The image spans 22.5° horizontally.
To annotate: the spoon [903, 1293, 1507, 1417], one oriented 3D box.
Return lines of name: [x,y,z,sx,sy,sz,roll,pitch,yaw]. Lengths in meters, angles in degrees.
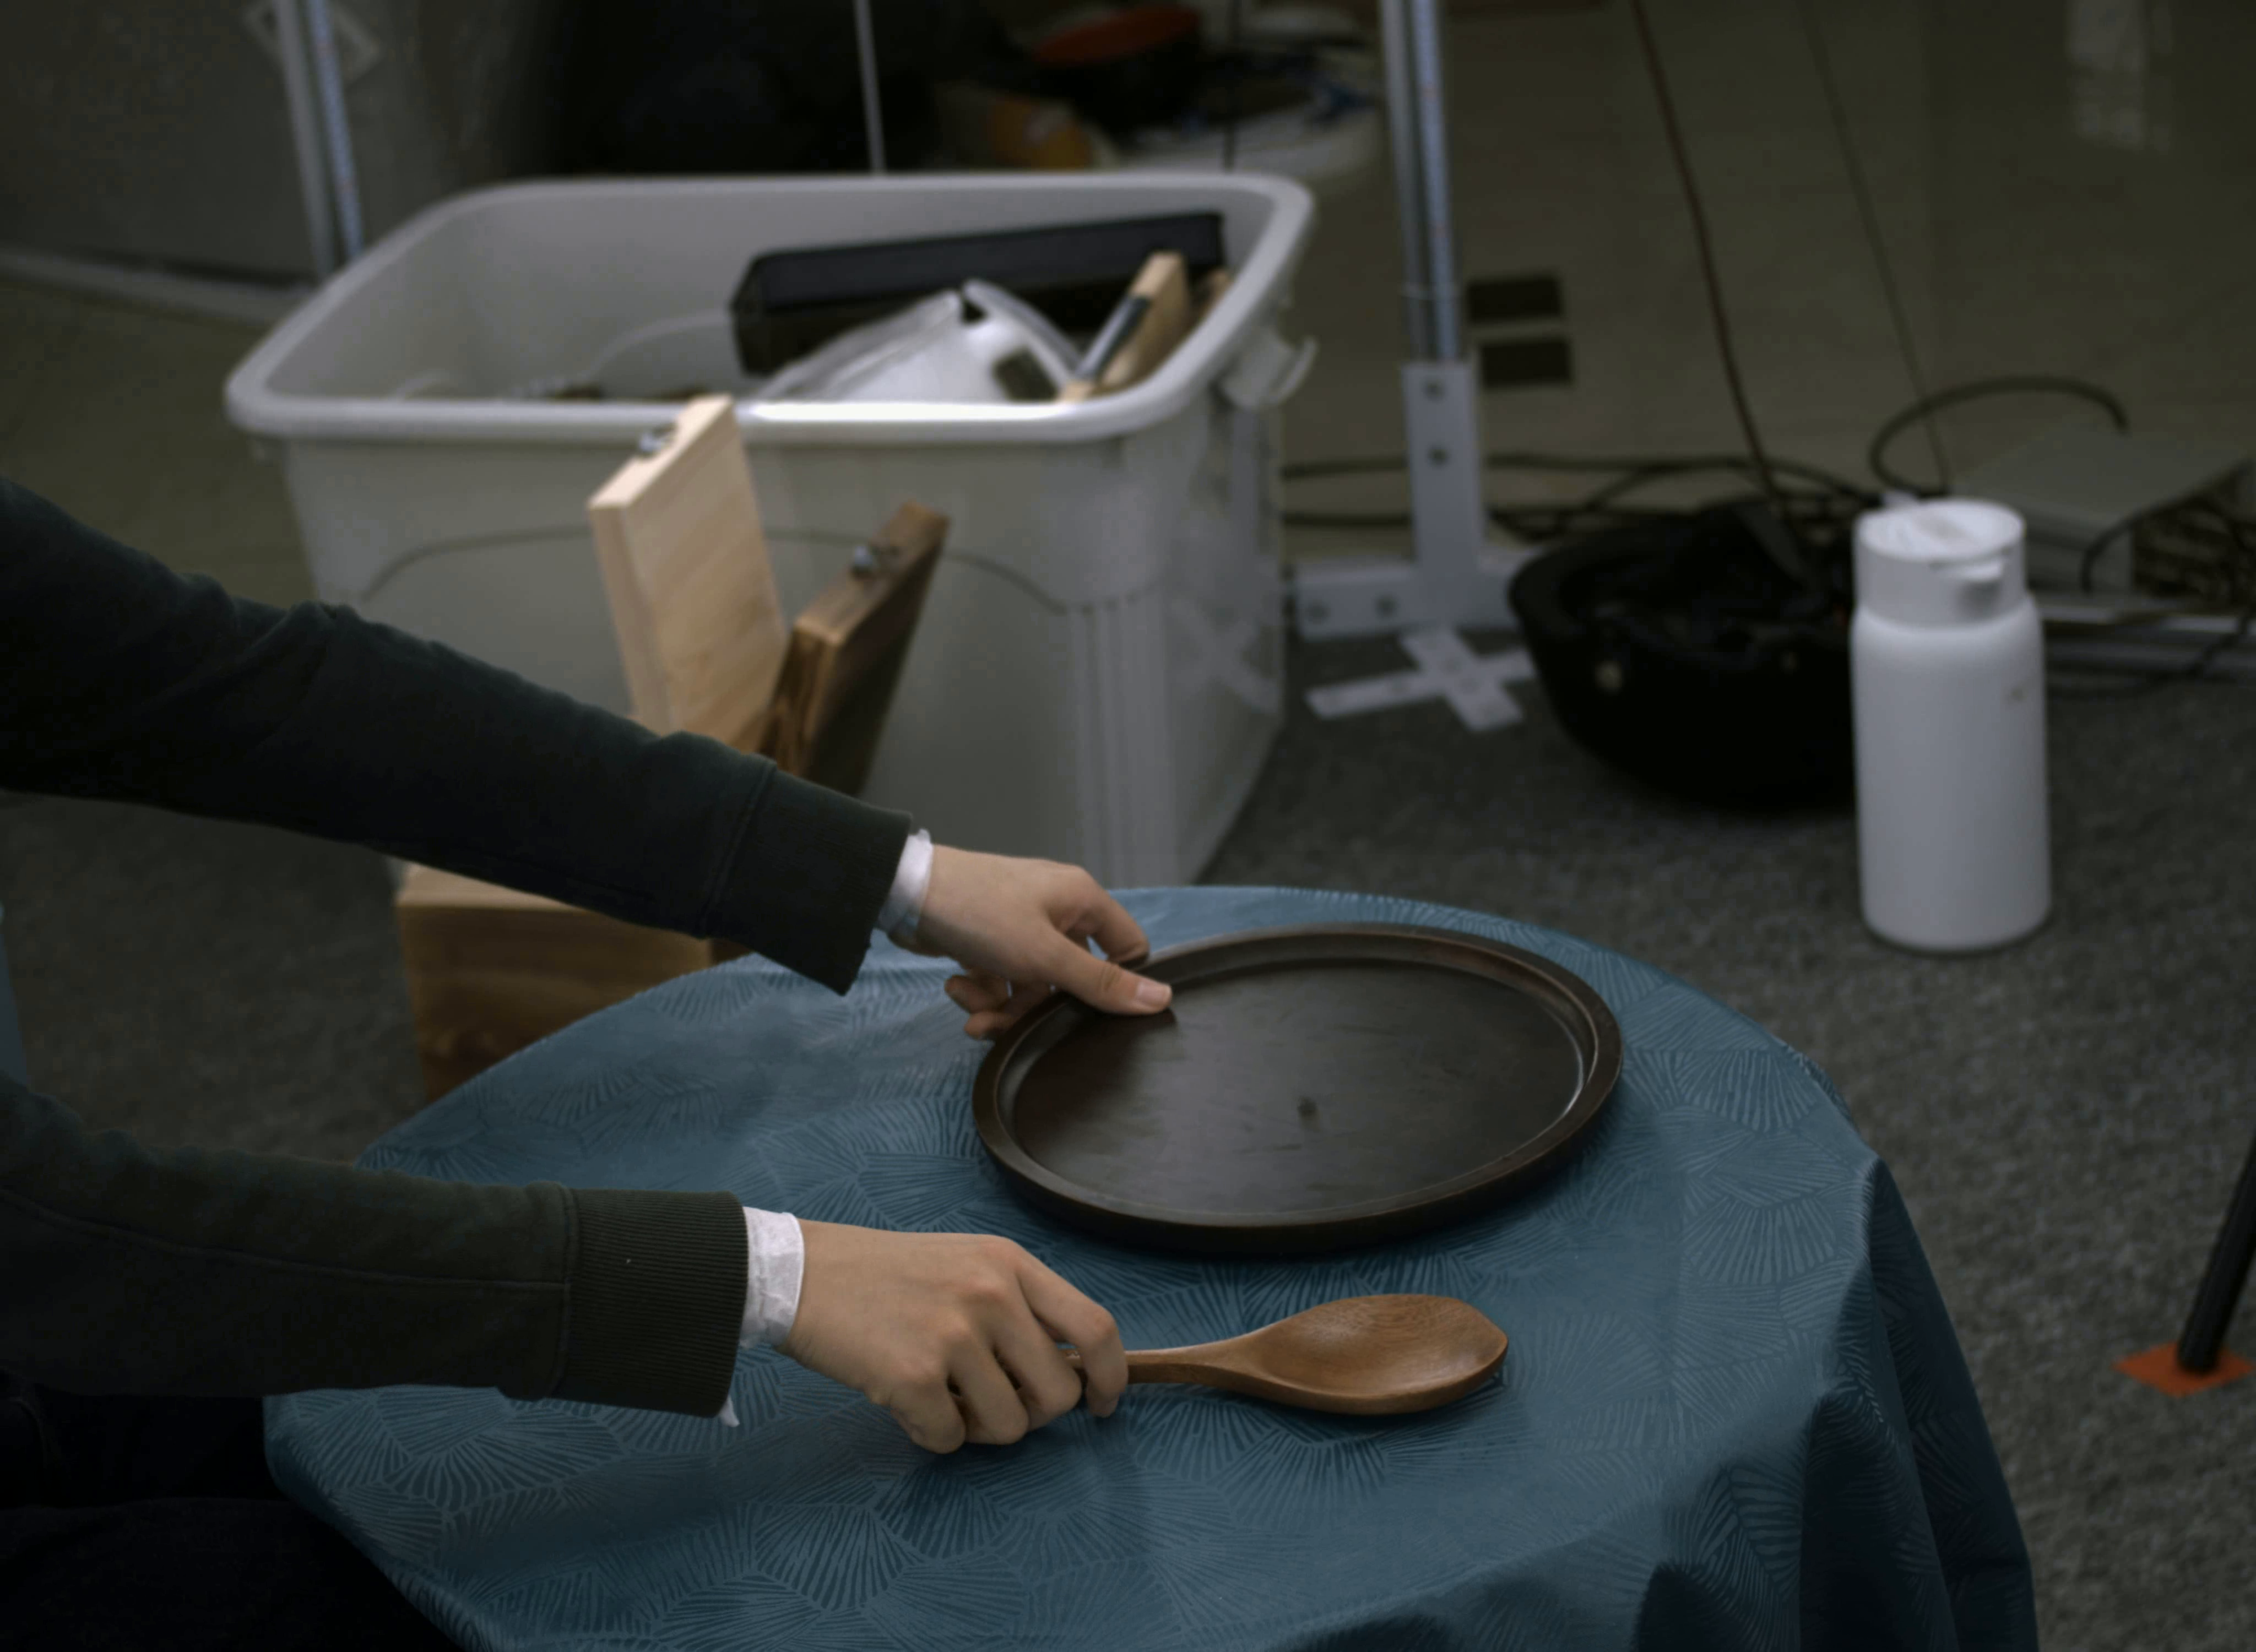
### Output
spoon: [0.027,0.192,2.012,0.215,0.017,0.074,-2,25,8]

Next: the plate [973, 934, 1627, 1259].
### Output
plate: [0.066,0.102,2.189,0.254,0.029,0.251,-4,24,2]
